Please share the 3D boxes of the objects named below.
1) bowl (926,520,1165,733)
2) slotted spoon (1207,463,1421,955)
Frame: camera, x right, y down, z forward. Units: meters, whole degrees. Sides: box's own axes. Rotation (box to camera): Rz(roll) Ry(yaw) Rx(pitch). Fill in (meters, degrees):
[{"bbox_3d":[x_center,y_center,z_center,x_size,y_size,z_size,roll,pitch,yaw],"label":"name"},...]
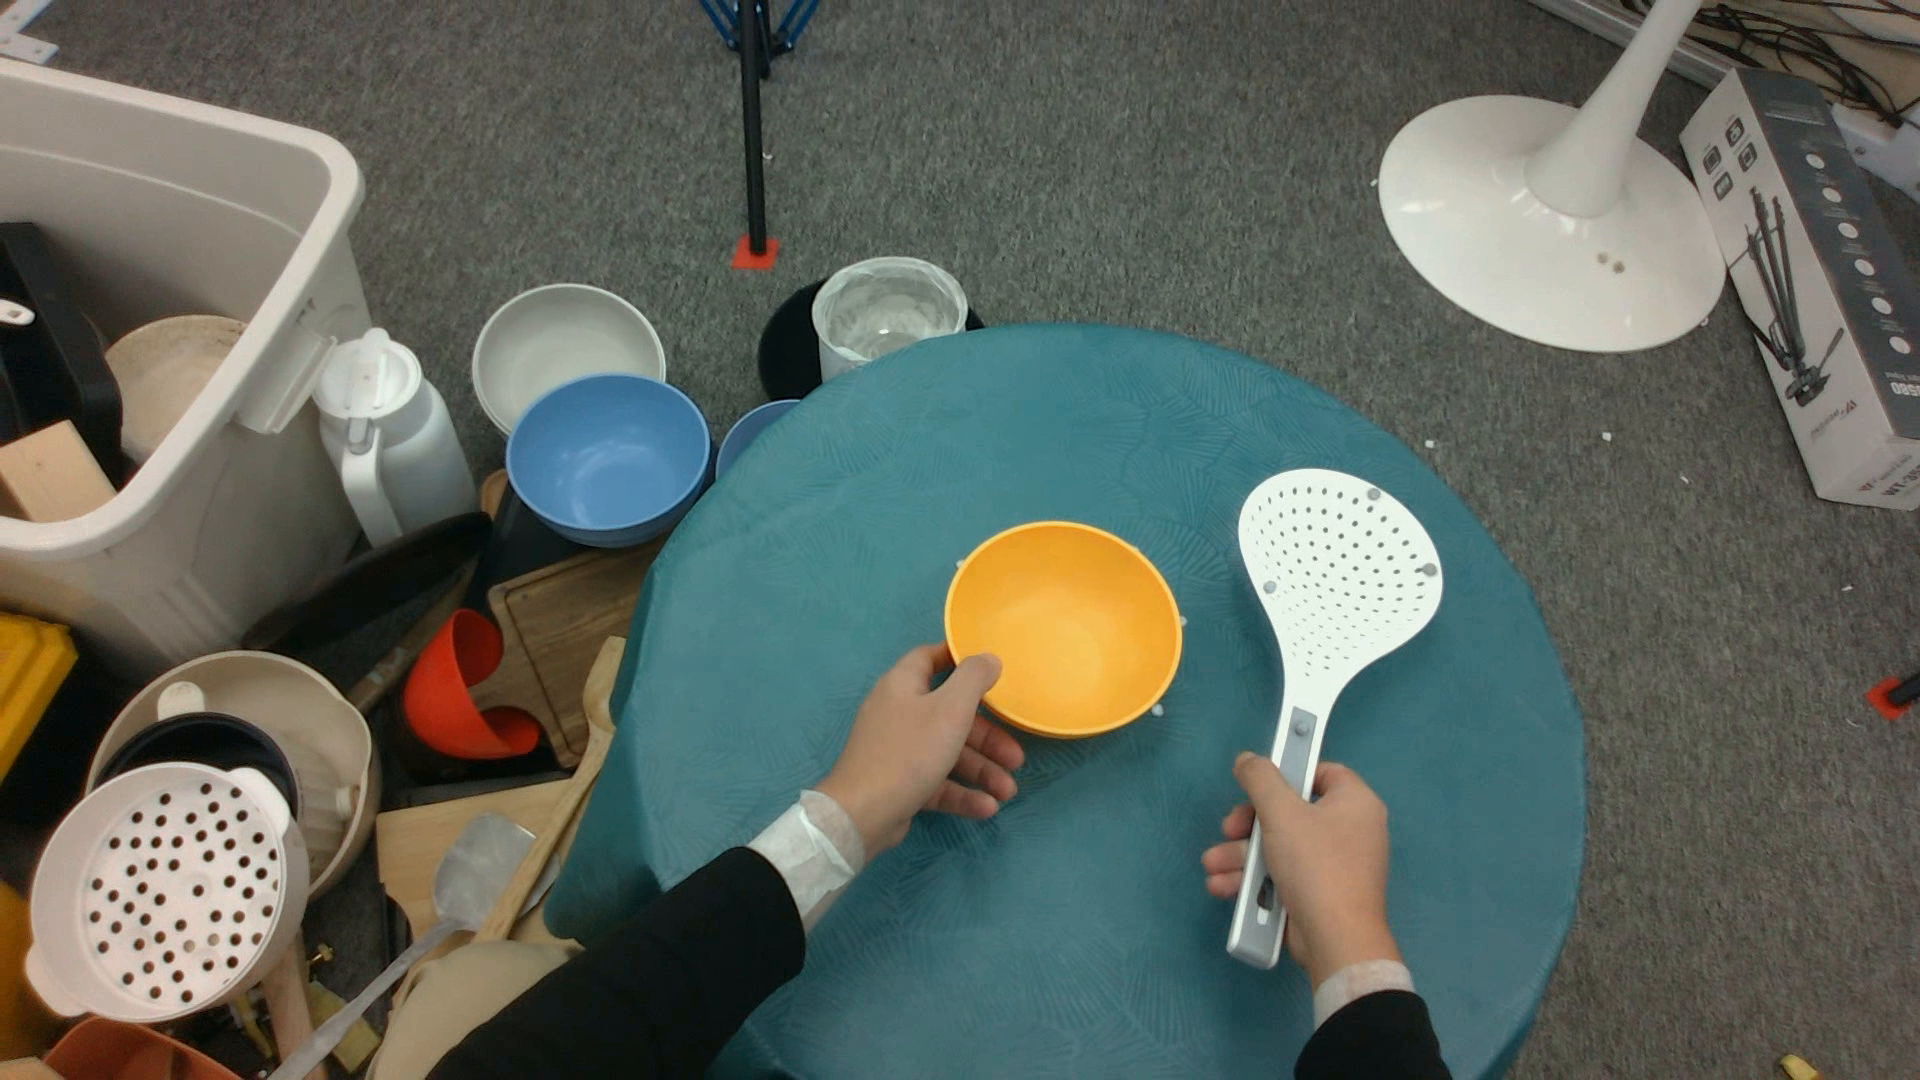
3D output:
[{"bbox_3d":[0.050,0.062,0.848,0.145,0.060,0.146,2,57,-4],"label":"bowl"},{"bbox_3d":[0.200,0.088,0.833,0.136,0.045,0.351,22,48,1],"label":"slotted spoon"}]
